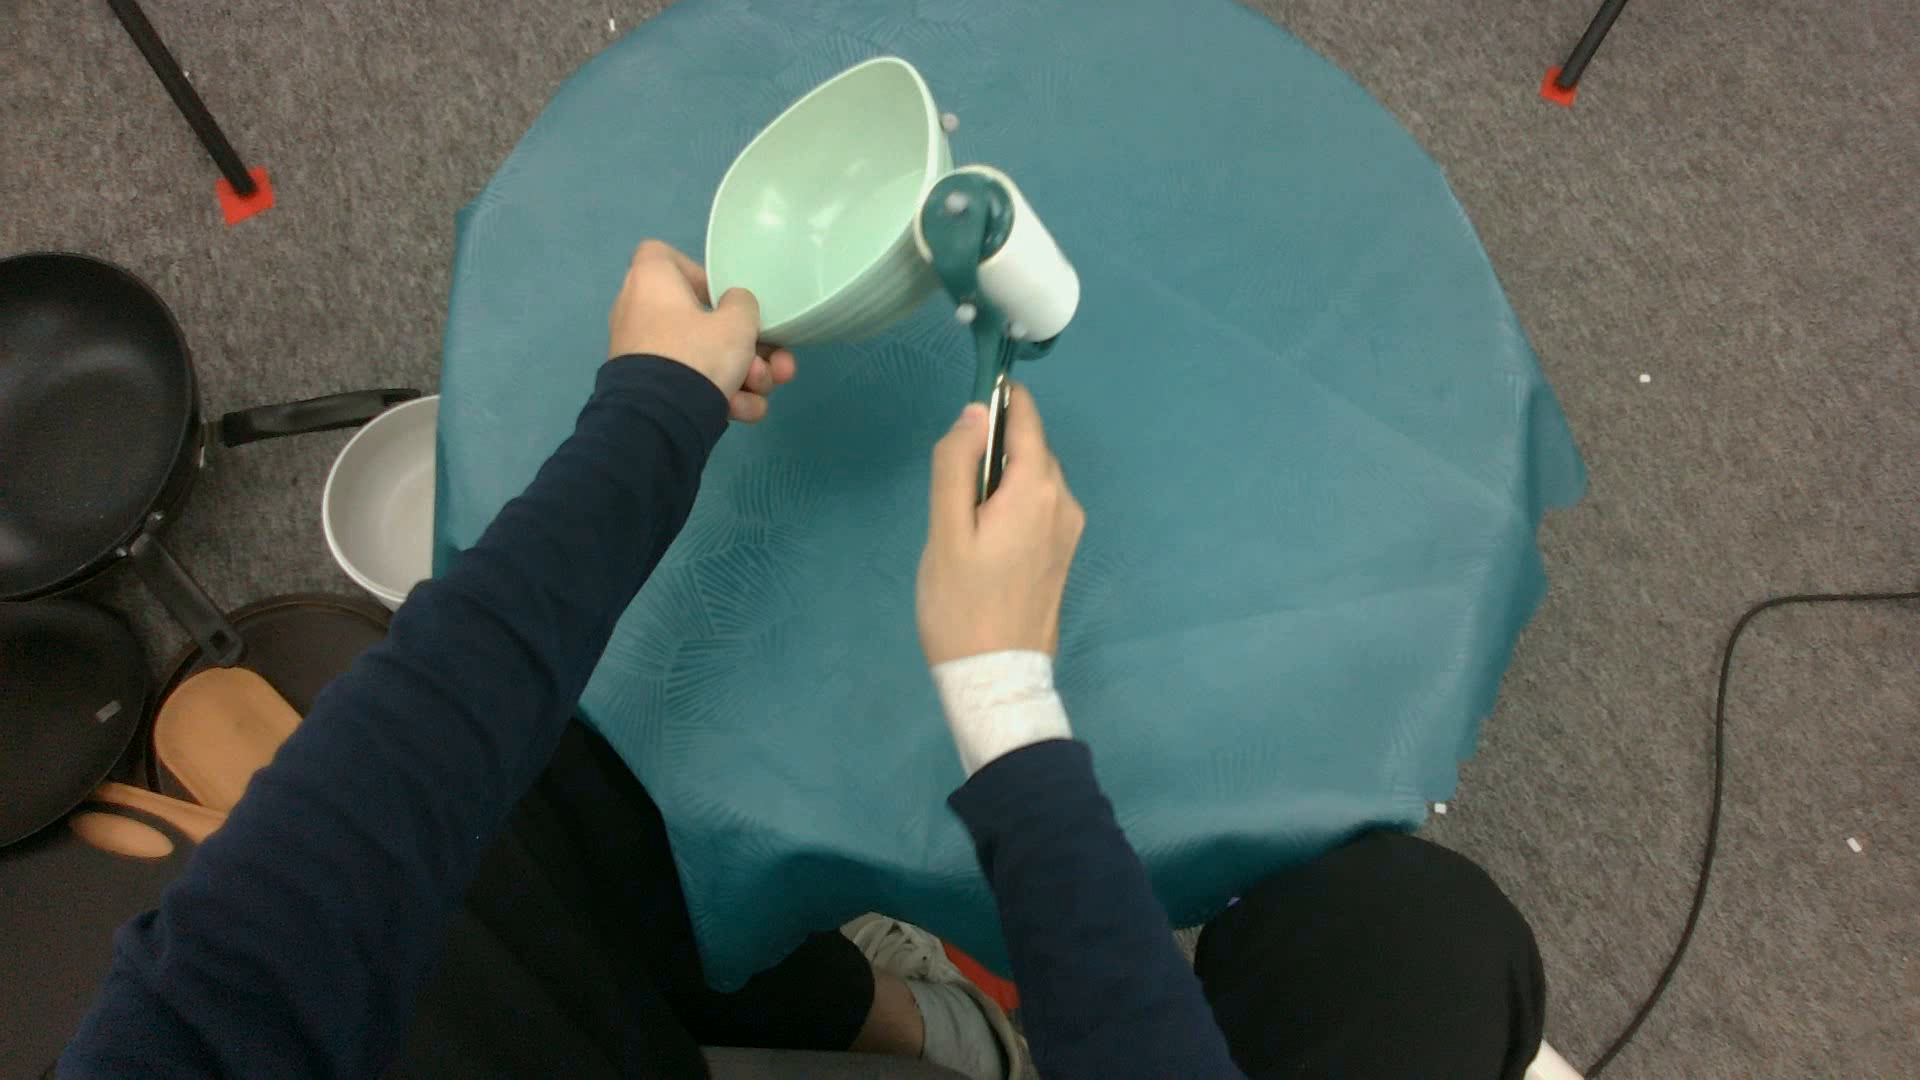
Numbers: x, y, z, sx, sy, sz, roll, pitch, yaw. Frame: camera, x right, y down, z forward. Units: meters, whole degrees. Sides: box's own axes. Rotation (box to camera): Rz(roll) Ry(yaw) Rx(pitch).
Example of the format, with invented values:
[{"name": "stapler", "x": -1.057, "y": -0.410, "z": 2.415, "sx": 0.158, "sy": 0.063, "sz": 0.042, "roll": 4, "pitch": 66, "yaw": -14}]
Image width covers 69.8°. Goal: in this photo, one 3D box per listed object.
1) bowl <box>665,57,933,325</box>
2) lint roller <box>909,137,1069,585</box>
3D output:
[{"name": "bowl", "x": -0.066, "y": -0.157, "z": 0.655, "sx": 0.151, "sy": 0.058, "sz": 0.152, "roll": -19, "pitch": 46, "yaw": 20}, {"name": "lint roller", "x": 0.015, "y": -0.071, "z": 0.612, "sx": 0.048, "sy": 0.134, "sz": 0.180, "roll": -4, "pitch": 79, "yaw": 18}]
